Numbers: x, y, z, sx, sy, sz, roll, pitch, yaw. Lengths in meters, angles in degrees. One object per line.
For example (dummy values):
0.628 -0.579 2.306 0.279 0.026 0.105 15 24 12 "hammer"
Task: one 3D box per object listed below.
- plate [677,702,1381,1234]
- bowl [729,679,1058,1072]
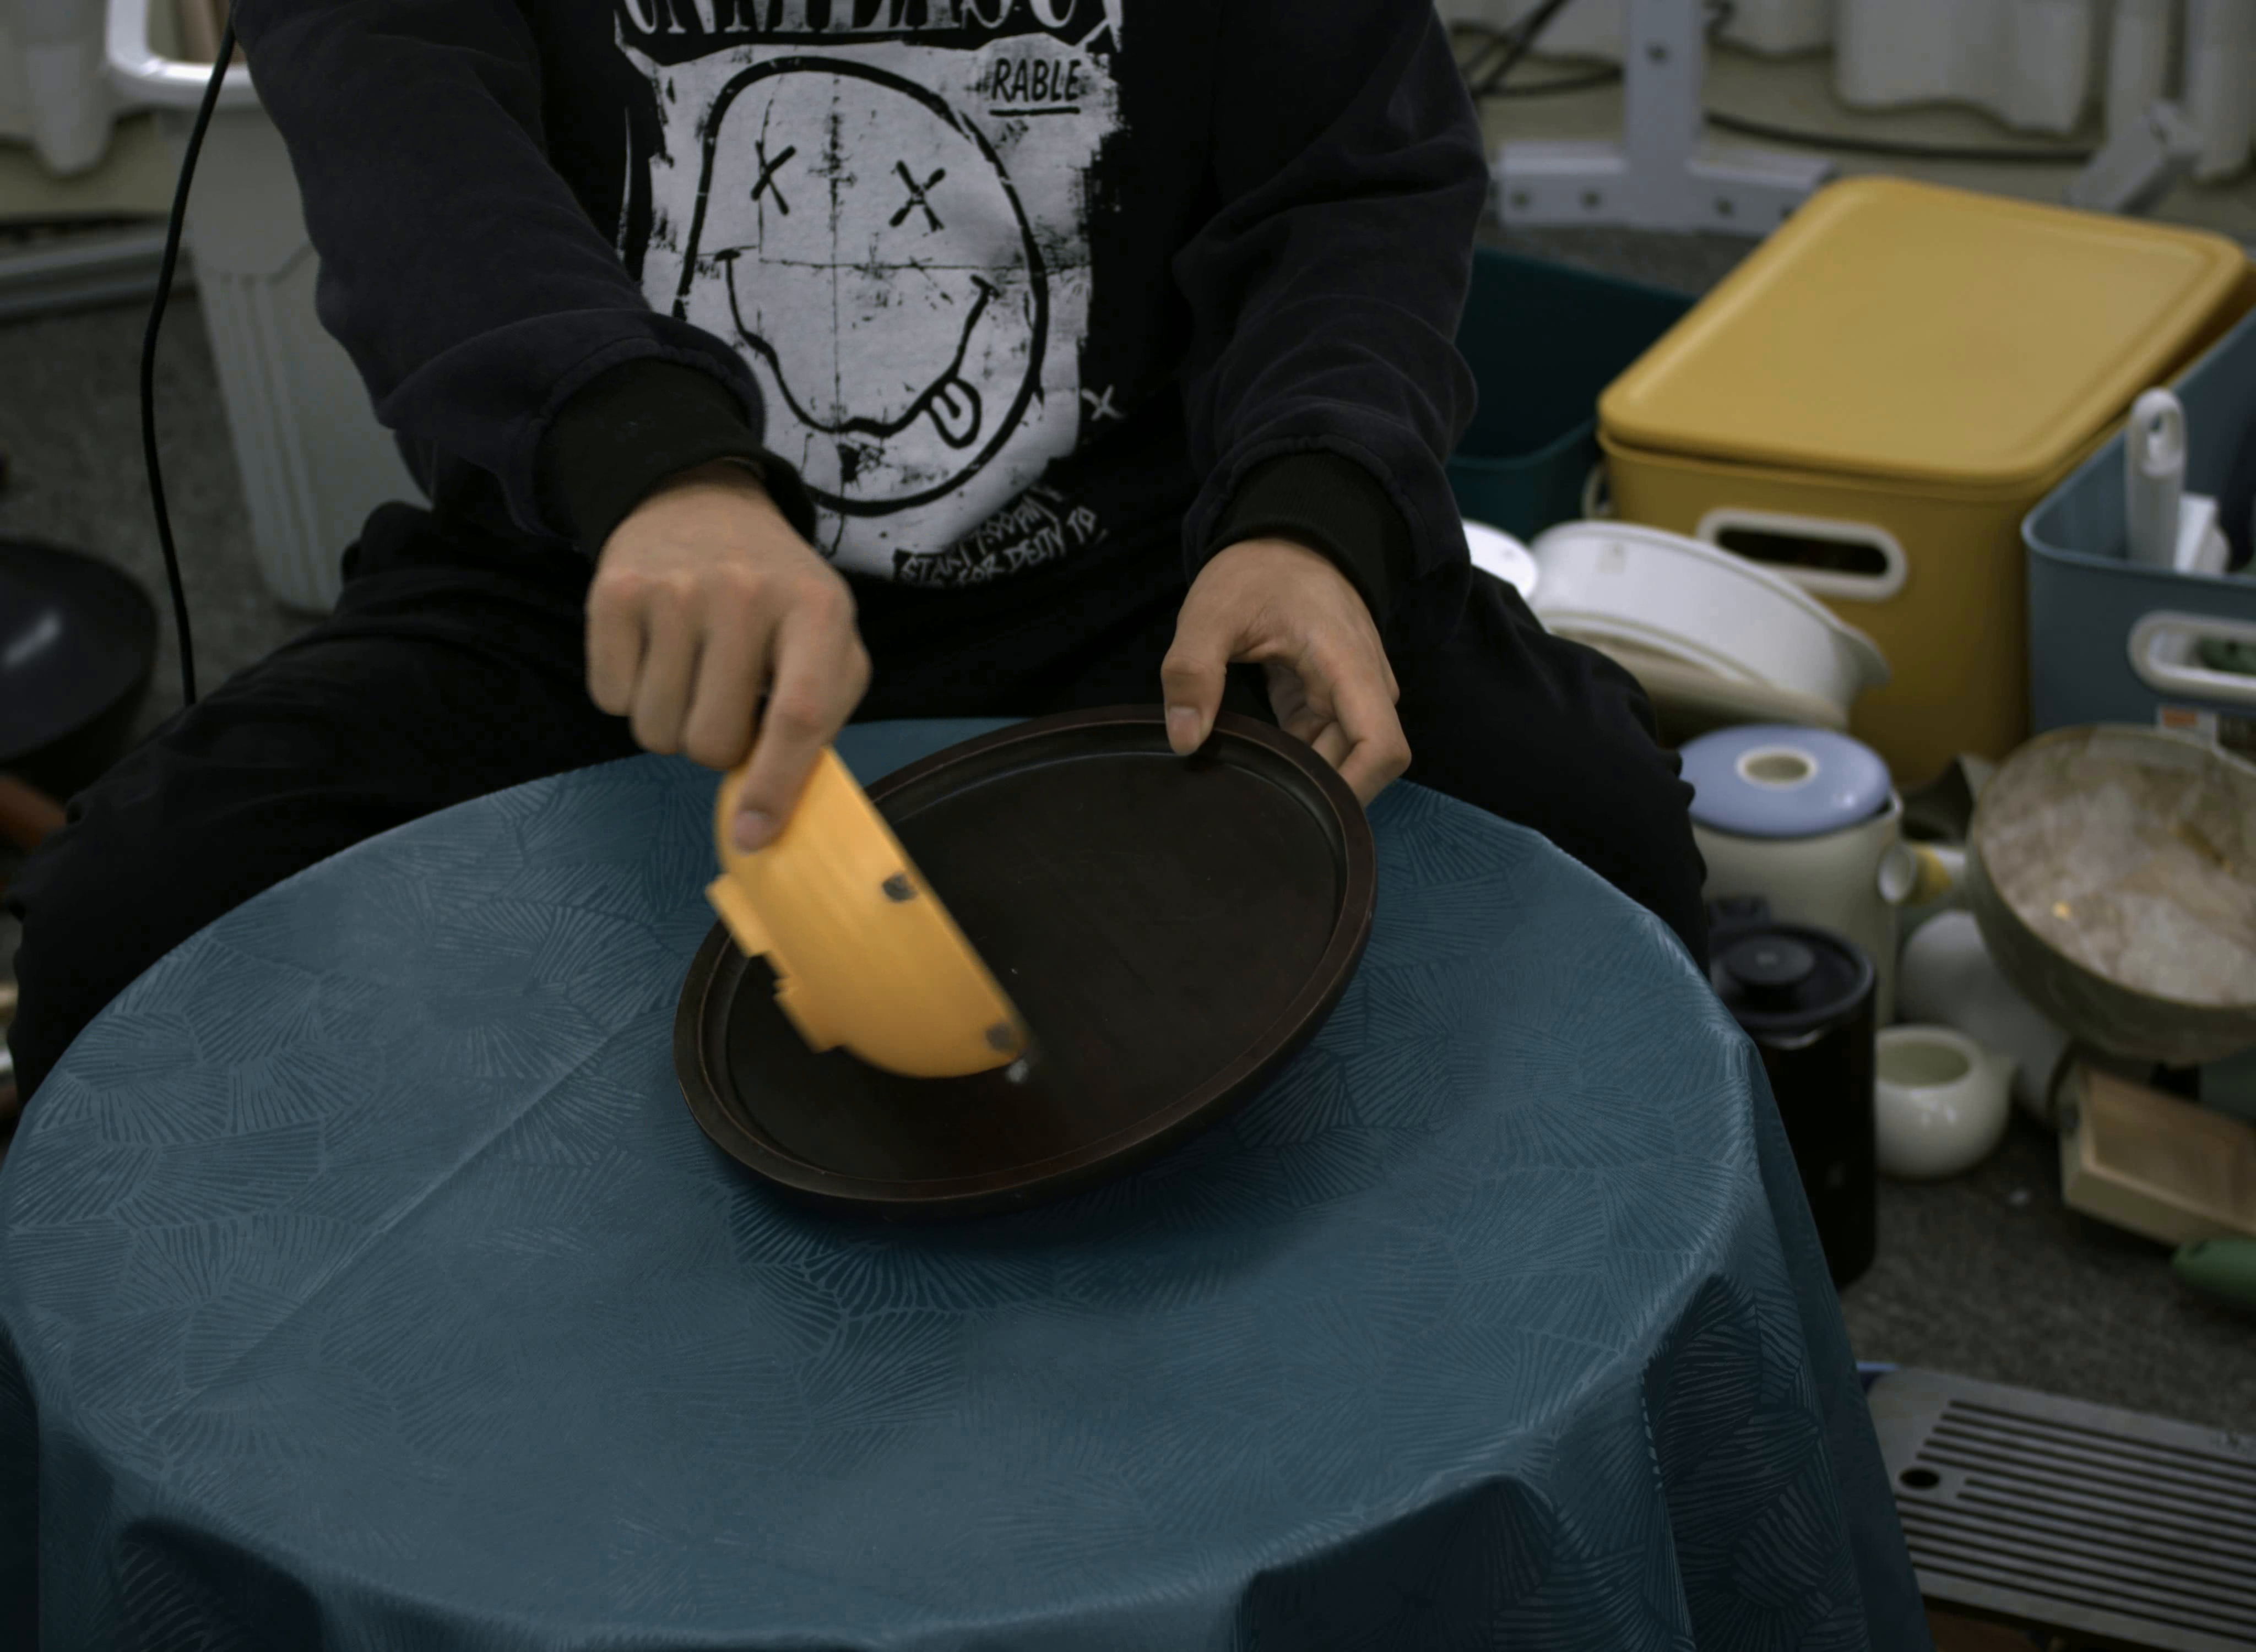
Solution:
-0.033 0.047 1.914 0.253 0.029 0.259 -15 35 11 "plate"
-0.086 0.028 1.811 0.060 0.144 0.146 -35 33 -3 "bowl"
